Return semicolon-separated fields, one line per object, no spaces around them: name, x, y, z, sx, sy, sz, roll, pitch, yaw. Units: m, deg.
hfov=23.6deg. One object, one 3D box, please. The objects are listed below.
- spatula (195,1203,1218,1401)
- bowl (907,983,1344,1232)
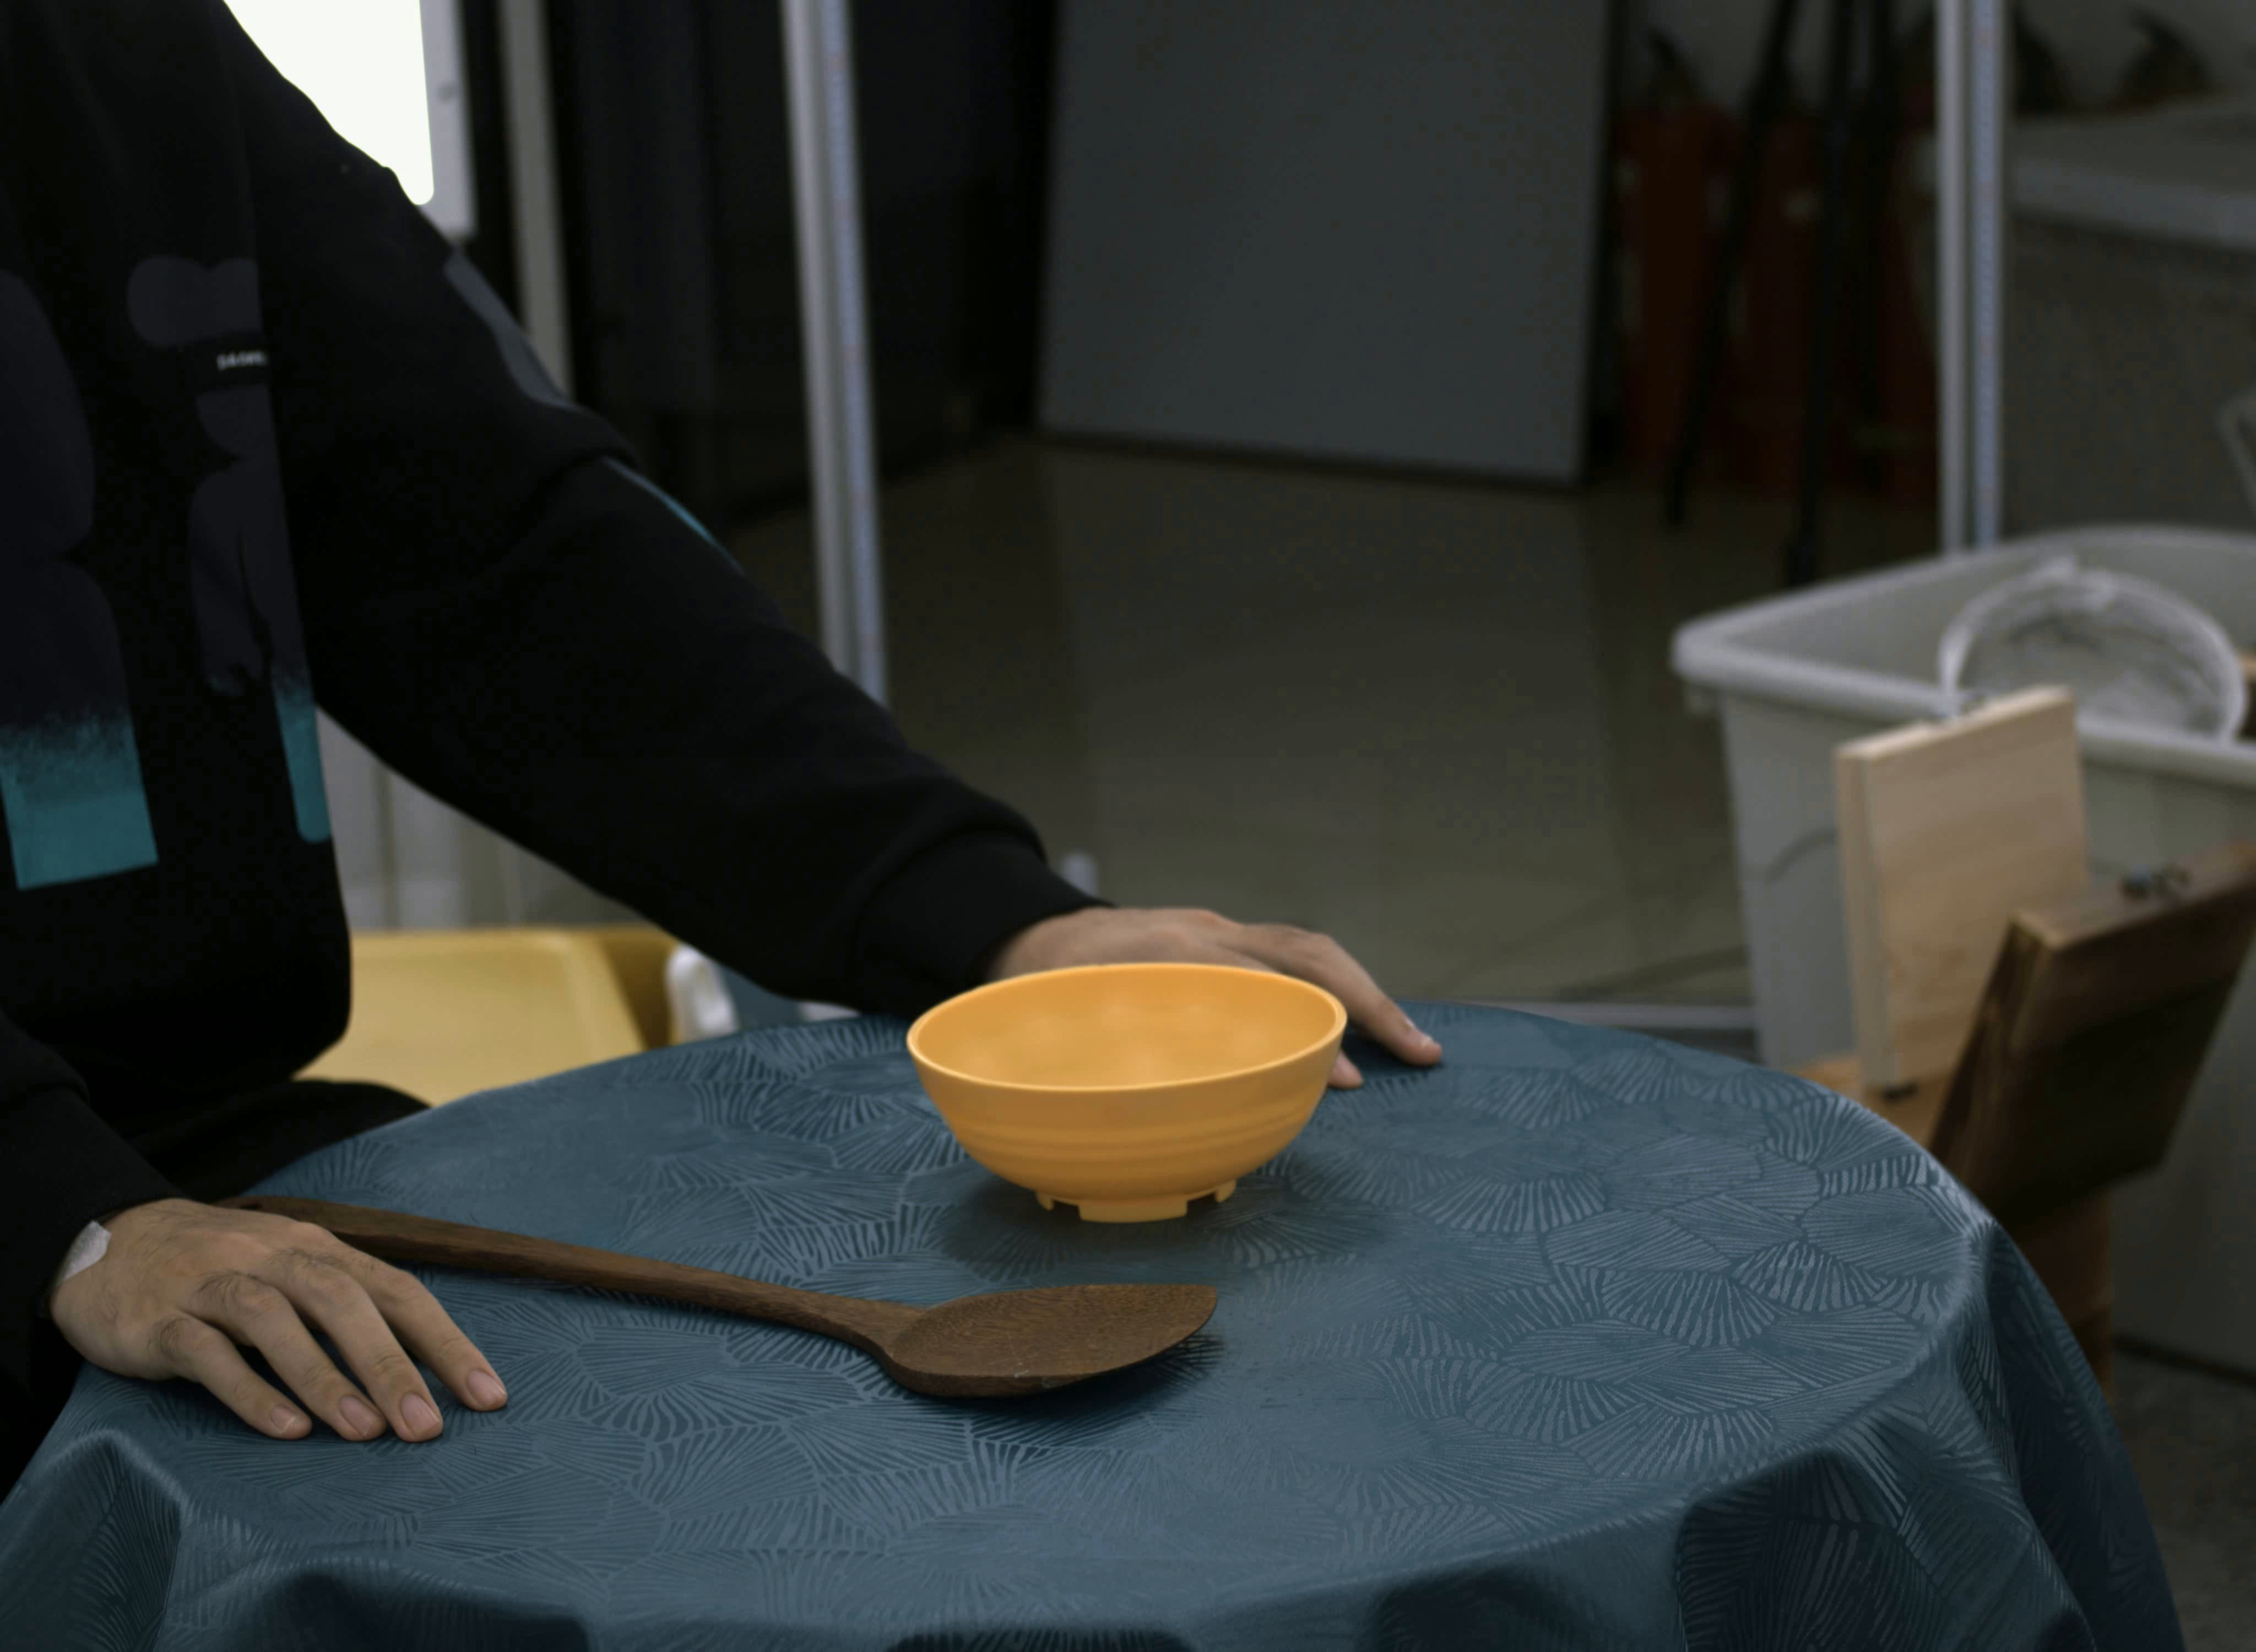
spatula;-0.146;0.144;1.693;0.388;0.016;0.094;5;16;33
bowl;0.000;0.095;1.762;0.143;0.061;0.145;-3;11;0
